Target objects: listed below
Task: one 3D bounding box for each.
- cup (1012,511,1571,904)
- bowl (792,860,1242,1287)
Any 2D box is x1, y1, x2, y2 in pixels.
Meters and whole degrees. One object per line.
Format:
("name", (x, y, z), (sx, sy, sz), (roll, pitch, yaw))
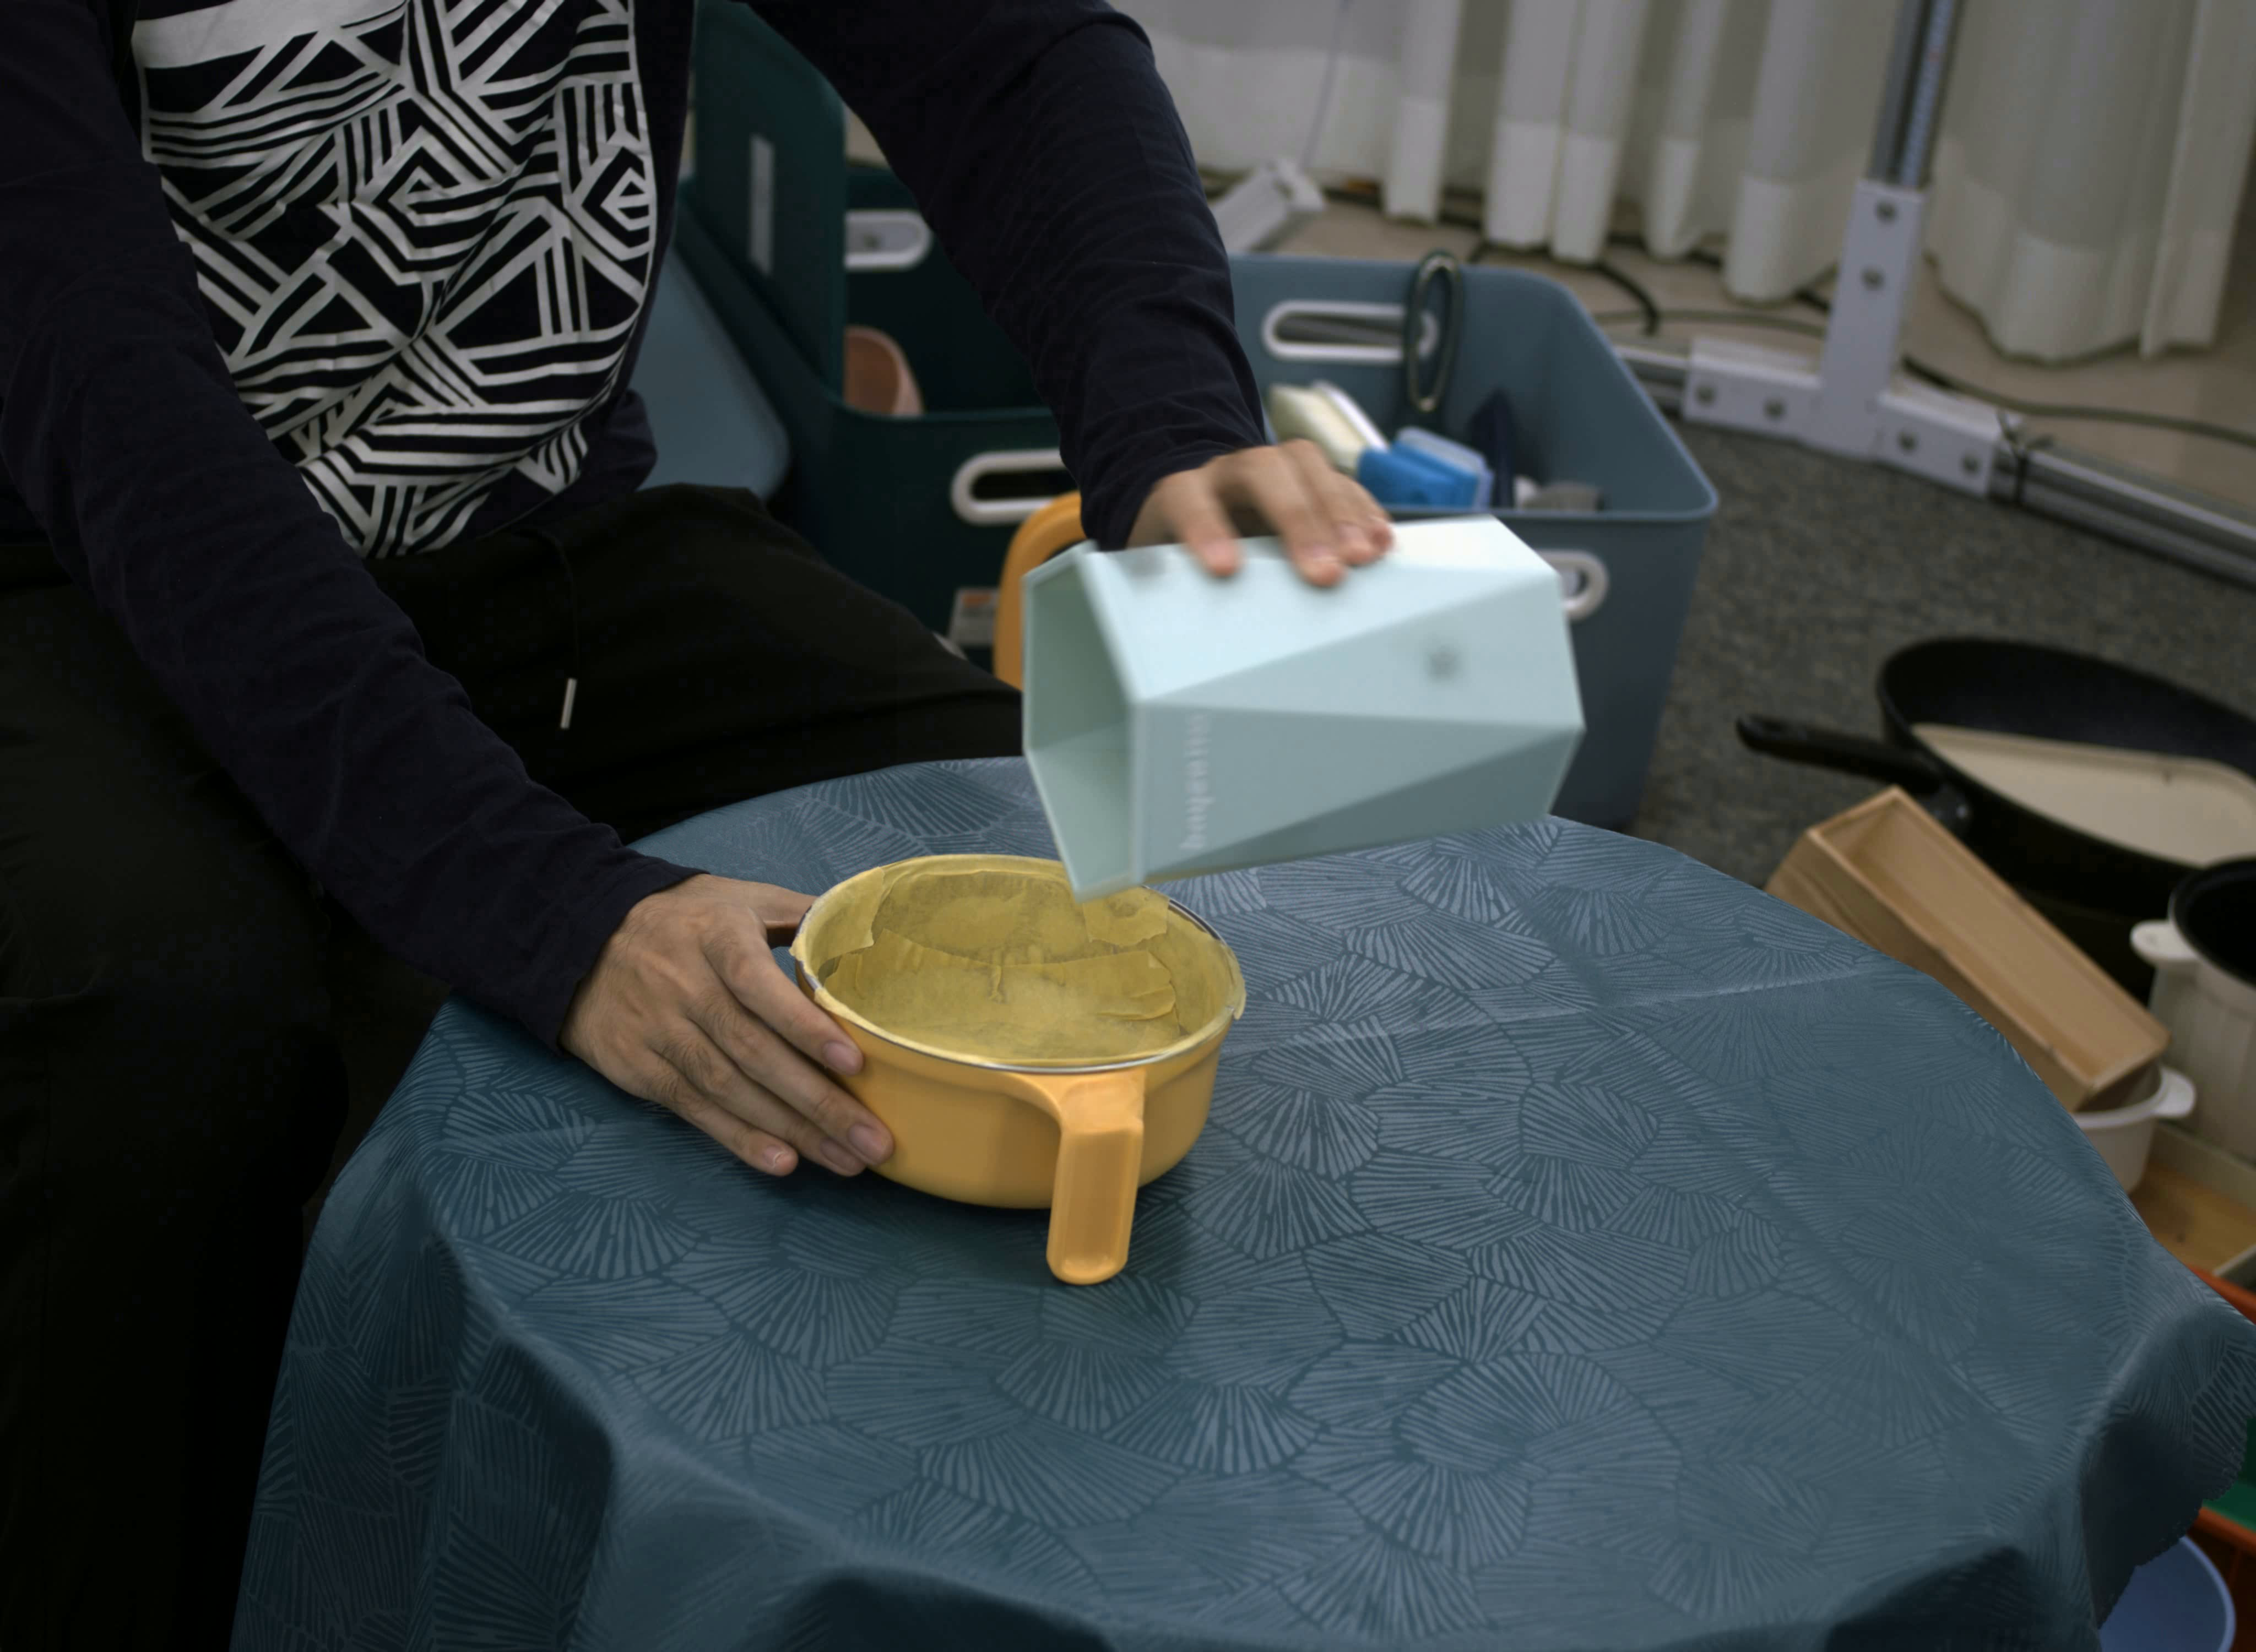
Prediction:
("cup", (0.055, -0.045, 1.787), (0.162, 0.130, 0.116), (-9, 23, -15))
("bowl", (-0.036, 0.081, 1.810), (0.152, 0.074, 0.181), (-5, 27, -21))
